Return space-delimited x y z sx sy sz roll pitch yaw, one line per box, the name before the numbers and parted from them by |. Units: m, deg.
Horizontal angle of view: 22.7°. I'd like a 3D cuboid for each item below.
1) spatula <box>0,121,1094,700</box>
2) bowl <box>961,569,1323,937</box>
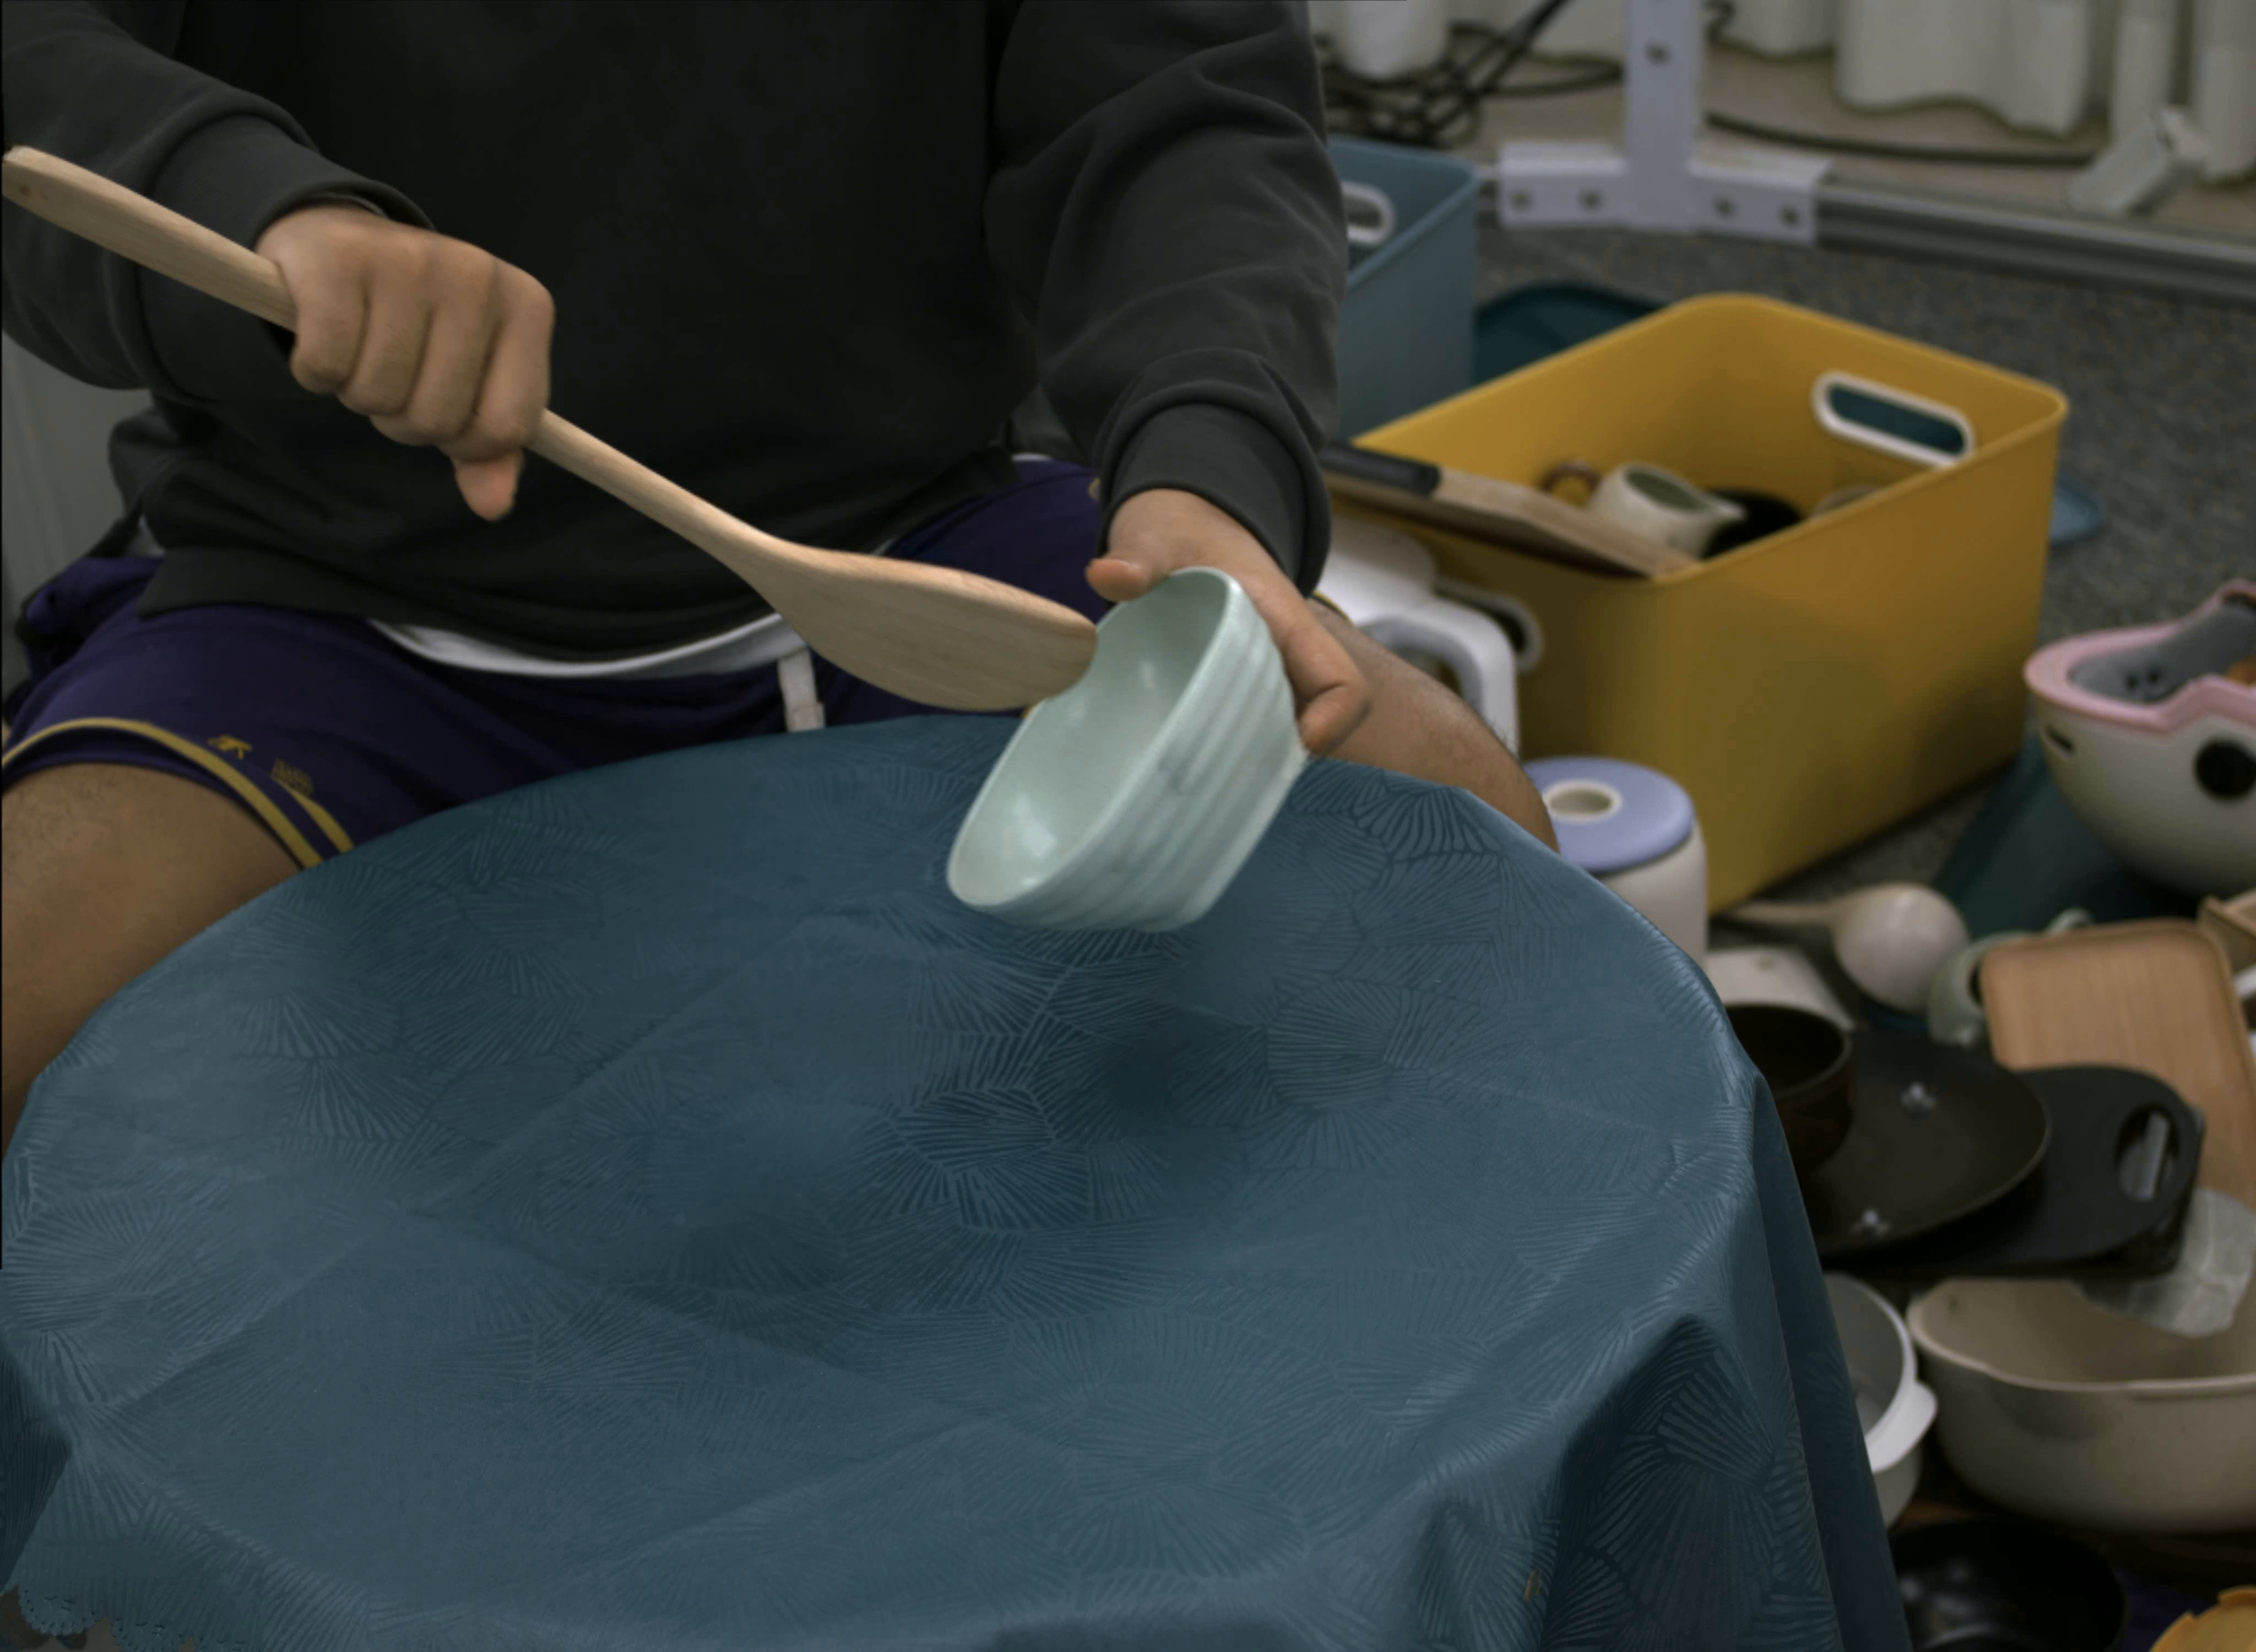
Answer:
spatula | -0.188 -0.132 1.799 0.389 0.094 0.019 28 59 -16
bowl | 0.013 -0.013 1.892 0.058 0.150 0.153 37 19 -20
